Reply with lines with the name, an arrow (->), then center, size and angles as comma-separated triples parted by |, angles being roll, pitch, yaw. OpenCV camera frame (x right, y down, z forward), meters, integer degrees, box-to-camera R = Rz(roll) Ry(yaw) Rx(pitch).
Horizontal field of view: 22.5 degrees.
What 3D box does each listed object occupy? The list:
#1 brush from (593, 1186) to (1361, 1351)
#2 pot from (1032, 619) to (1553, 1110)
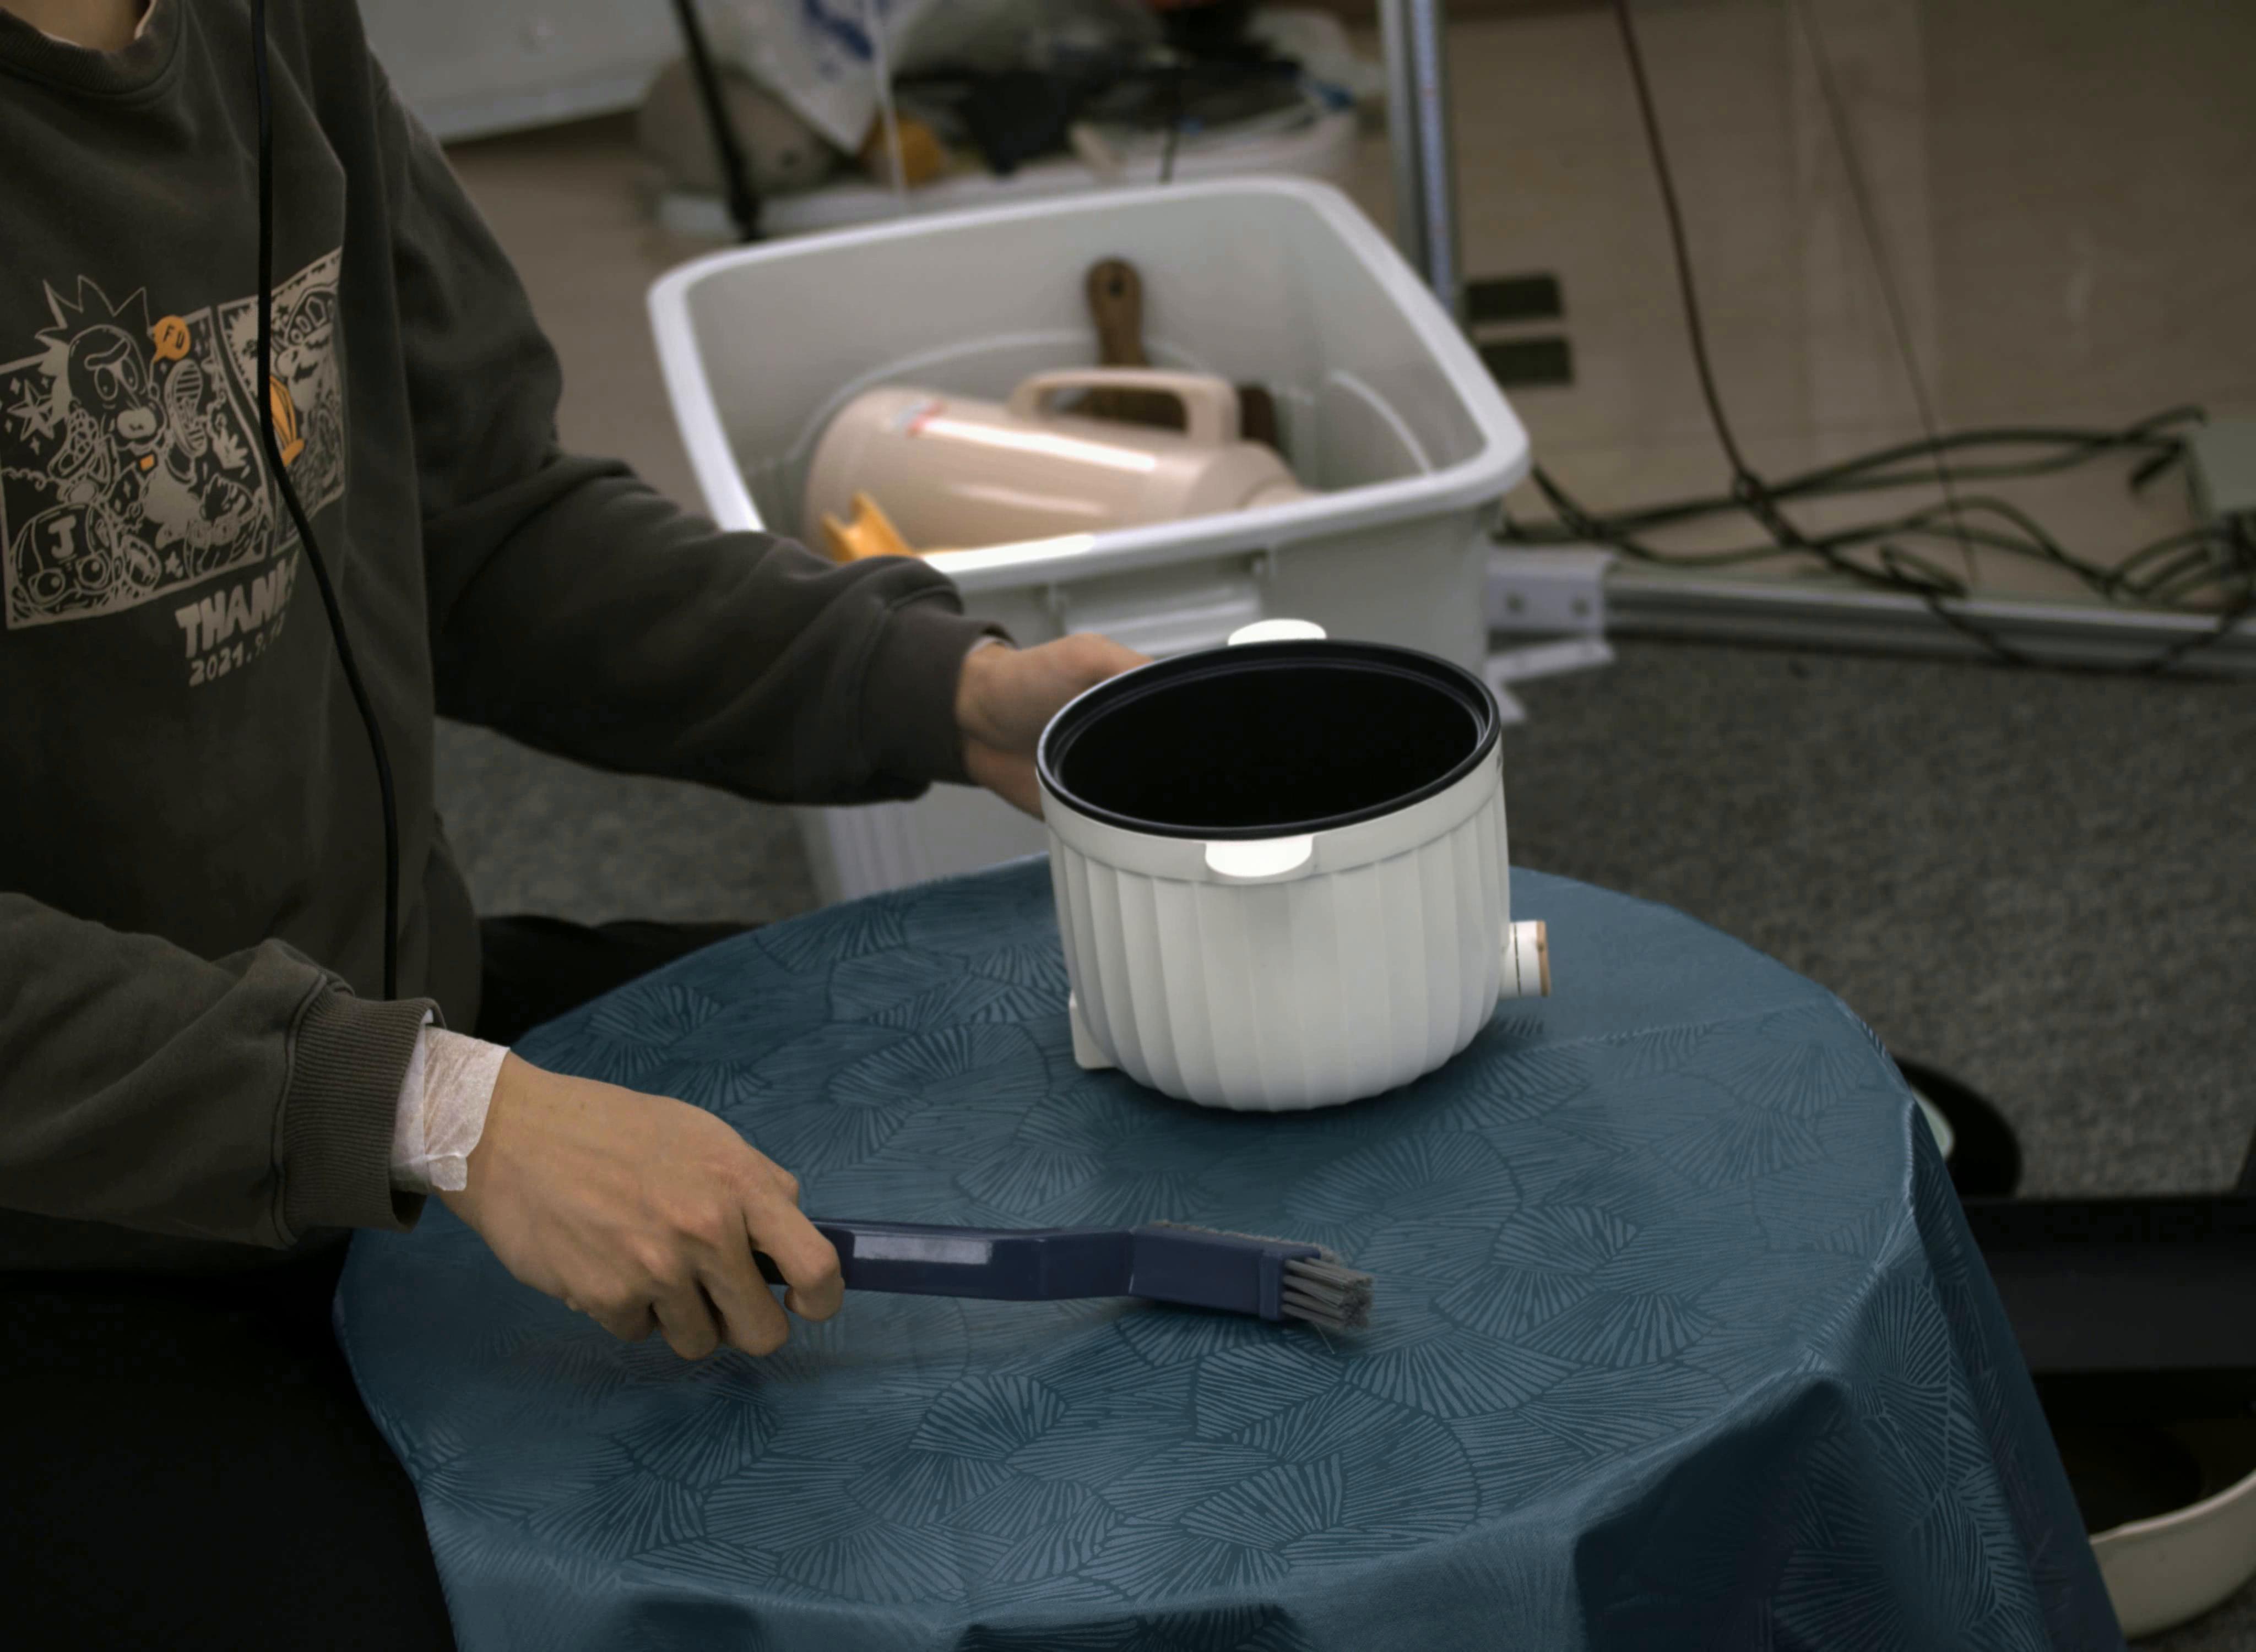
brush -> -0.056, 0.158, 2.041 | 0.273, 0.034, 0.095 | 2, 13, -5
pot -> 0.066, 0.021, 2.215 | 0.190, 0.145, 0.237 | -7, 26, 7
